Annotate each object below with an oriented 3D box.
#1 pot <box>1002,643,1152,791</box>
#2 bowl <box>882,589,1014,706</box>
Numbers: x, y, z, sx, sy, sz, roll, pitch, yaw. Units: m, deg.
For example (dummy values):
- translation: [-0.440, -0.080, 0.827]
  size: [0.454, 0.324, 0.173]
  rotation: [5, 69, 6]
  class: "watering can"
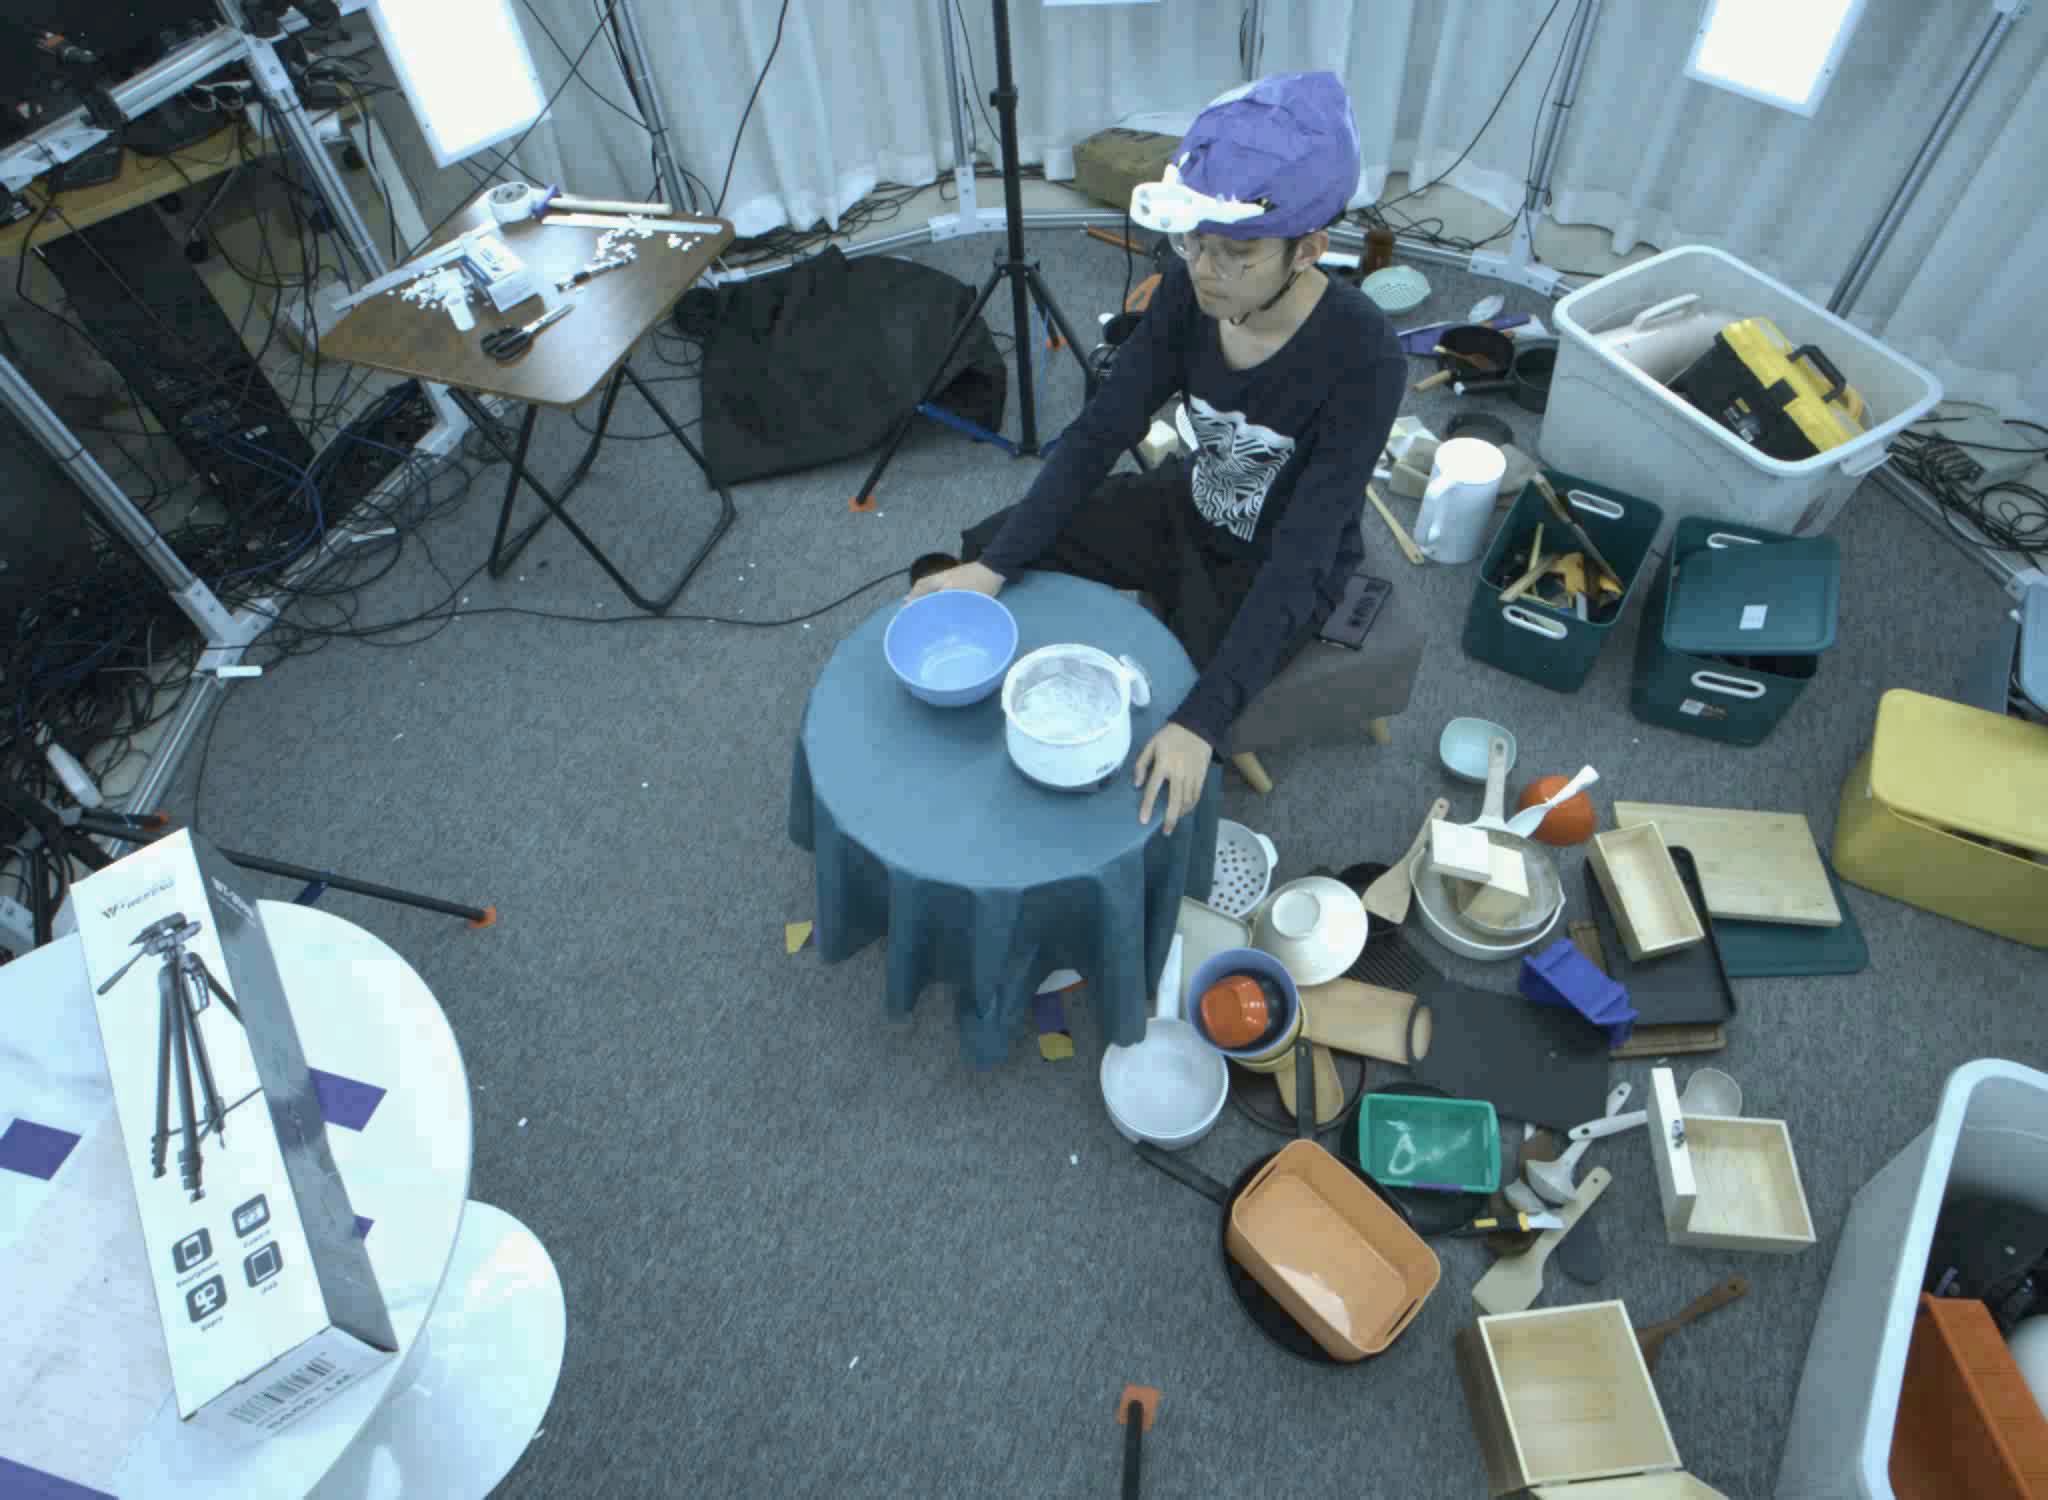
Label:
- translation: [0.083, -0.057, 1.748]
  size: [0.235, 0.138, 0.175]
  rotation: [-33, 62, -19]
  class: "pot"
- translation: [-0.106, -0.139, 1.834]
  size: [0.196, 0.097, 0.194]
  rotation: [-3, 55, 5]
  class: "bowl"
